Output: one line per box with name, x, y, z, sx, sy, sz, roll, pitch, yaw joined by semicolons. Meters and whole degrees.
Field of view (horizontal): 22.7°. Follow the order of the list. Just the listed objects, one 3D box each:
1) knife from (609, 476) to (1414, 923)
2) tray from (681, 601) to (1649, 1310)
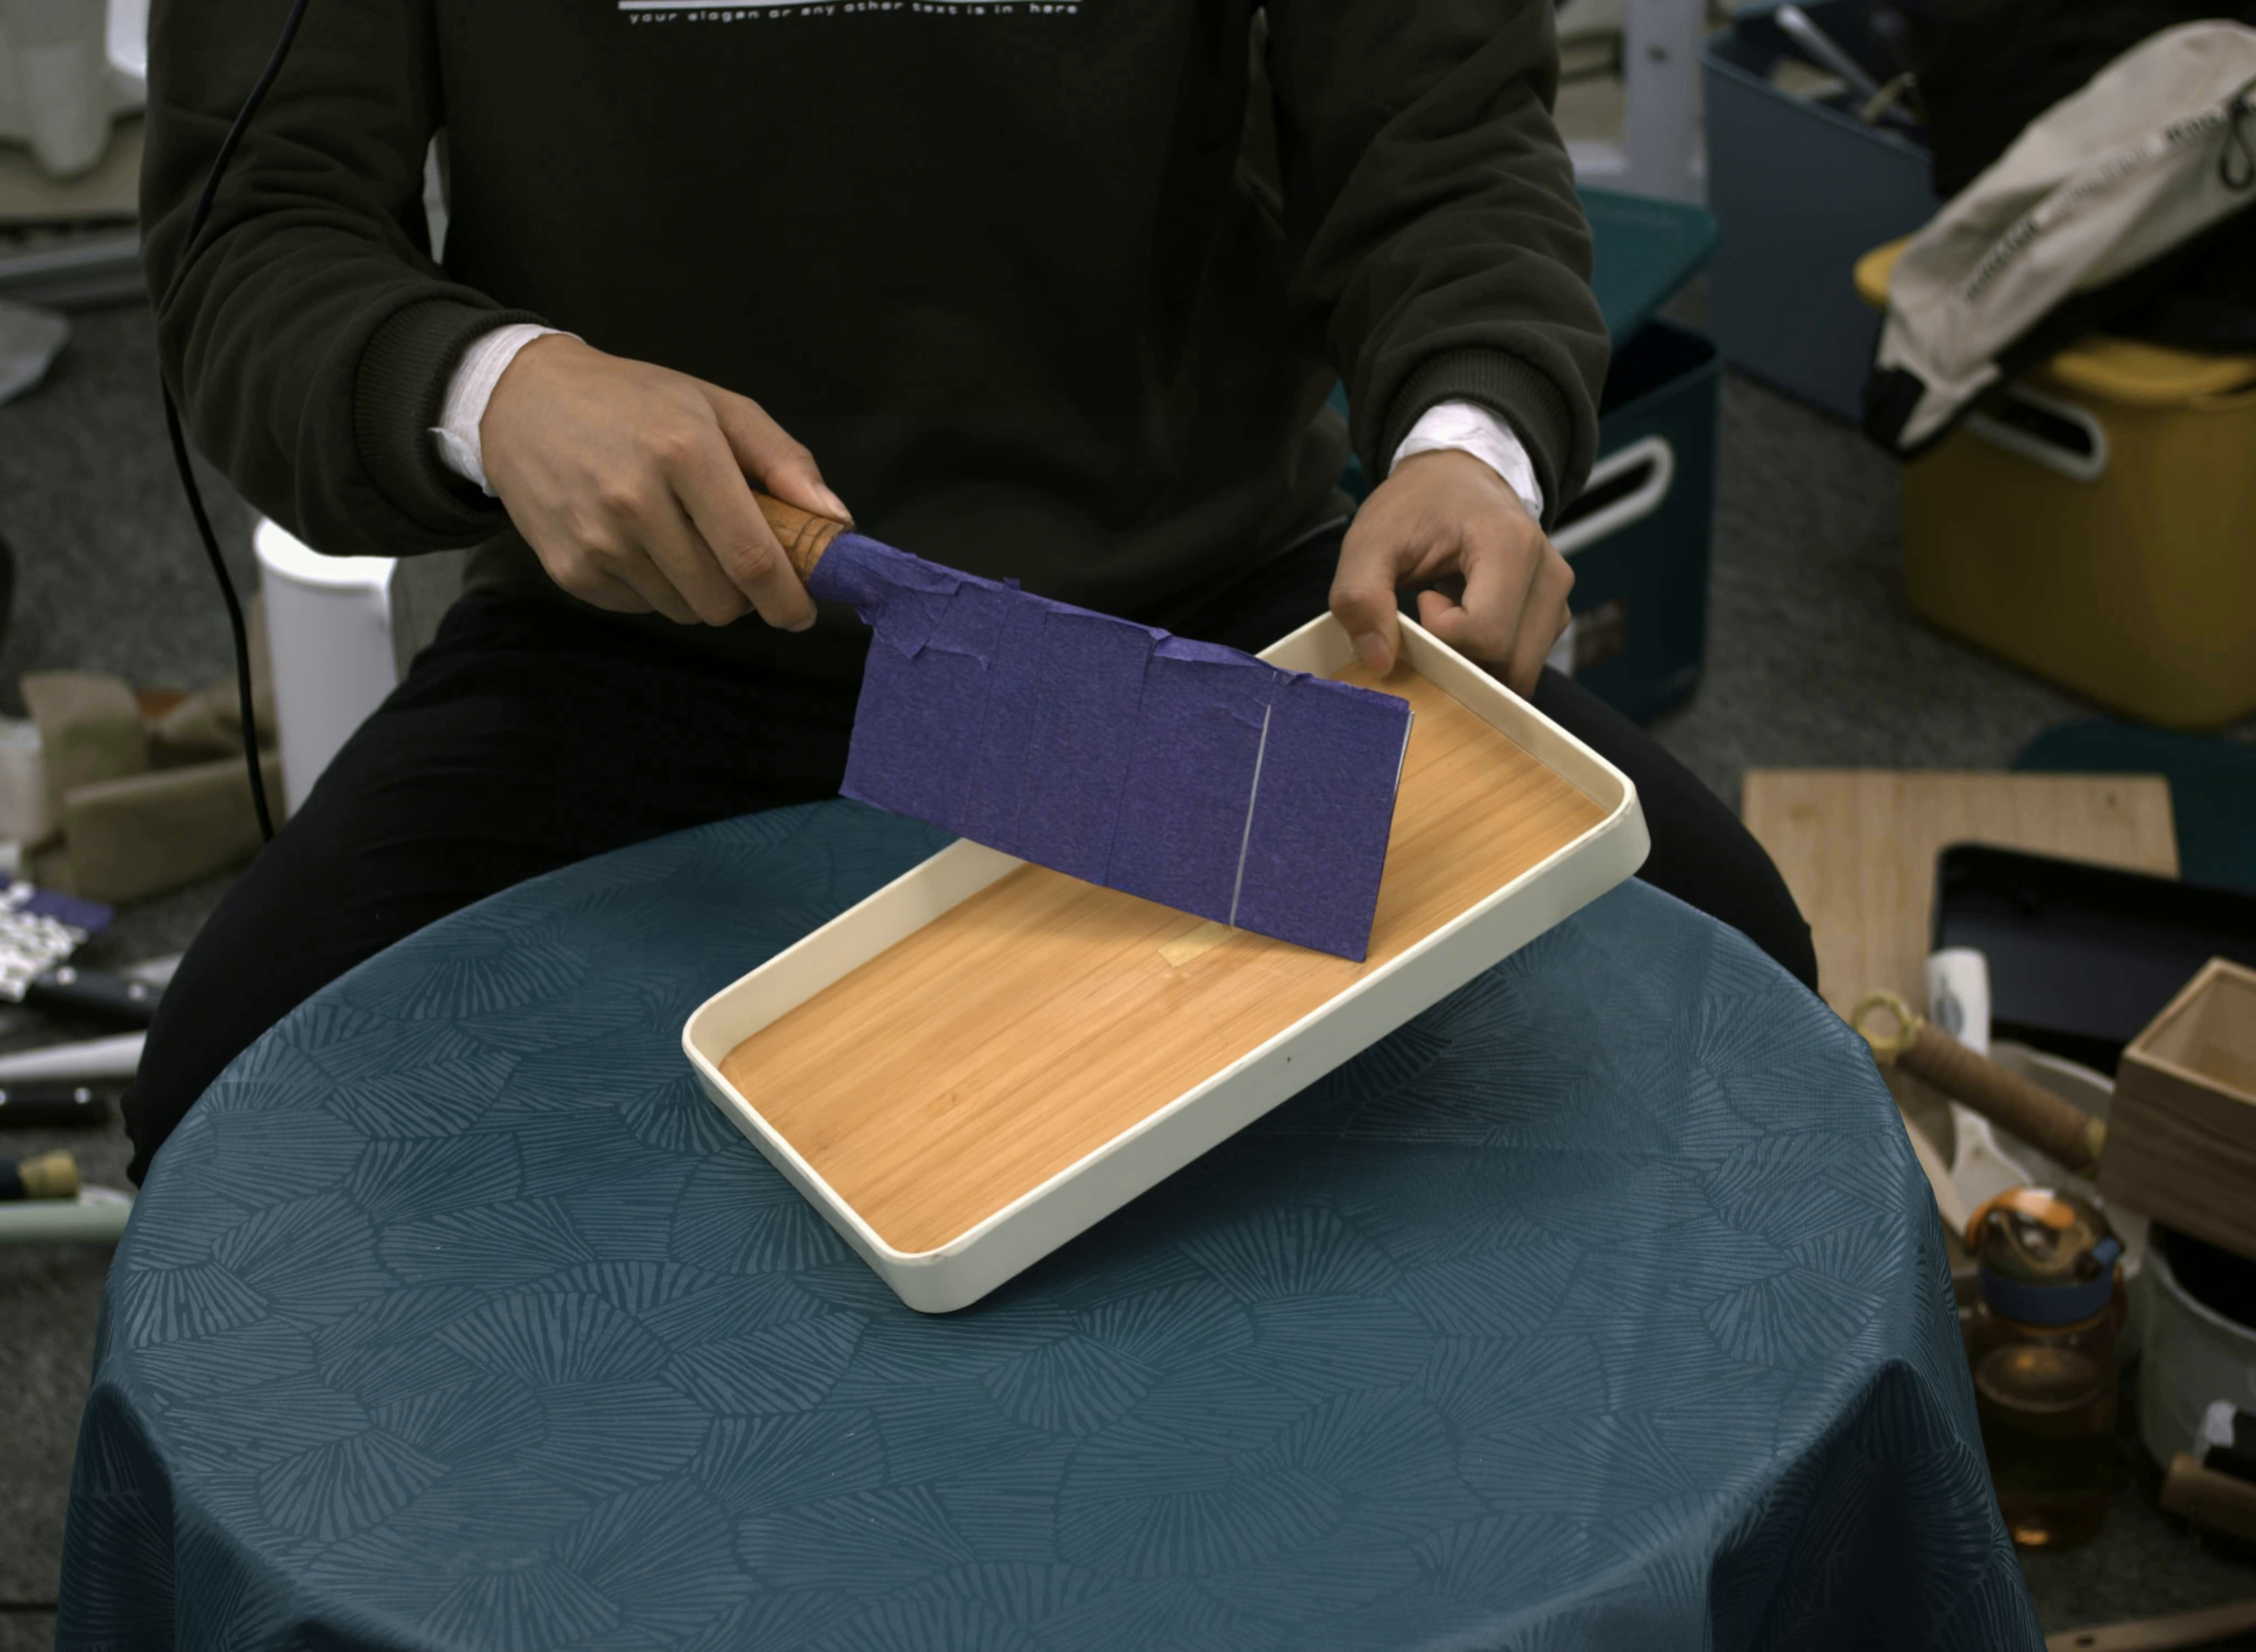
knife;-0.049;-0.042;1.921;0.314;0.103;0.032;17;10;27
tray;0.011;0.038;1.899;0.302;0.027;0.192;-32;35;-15
